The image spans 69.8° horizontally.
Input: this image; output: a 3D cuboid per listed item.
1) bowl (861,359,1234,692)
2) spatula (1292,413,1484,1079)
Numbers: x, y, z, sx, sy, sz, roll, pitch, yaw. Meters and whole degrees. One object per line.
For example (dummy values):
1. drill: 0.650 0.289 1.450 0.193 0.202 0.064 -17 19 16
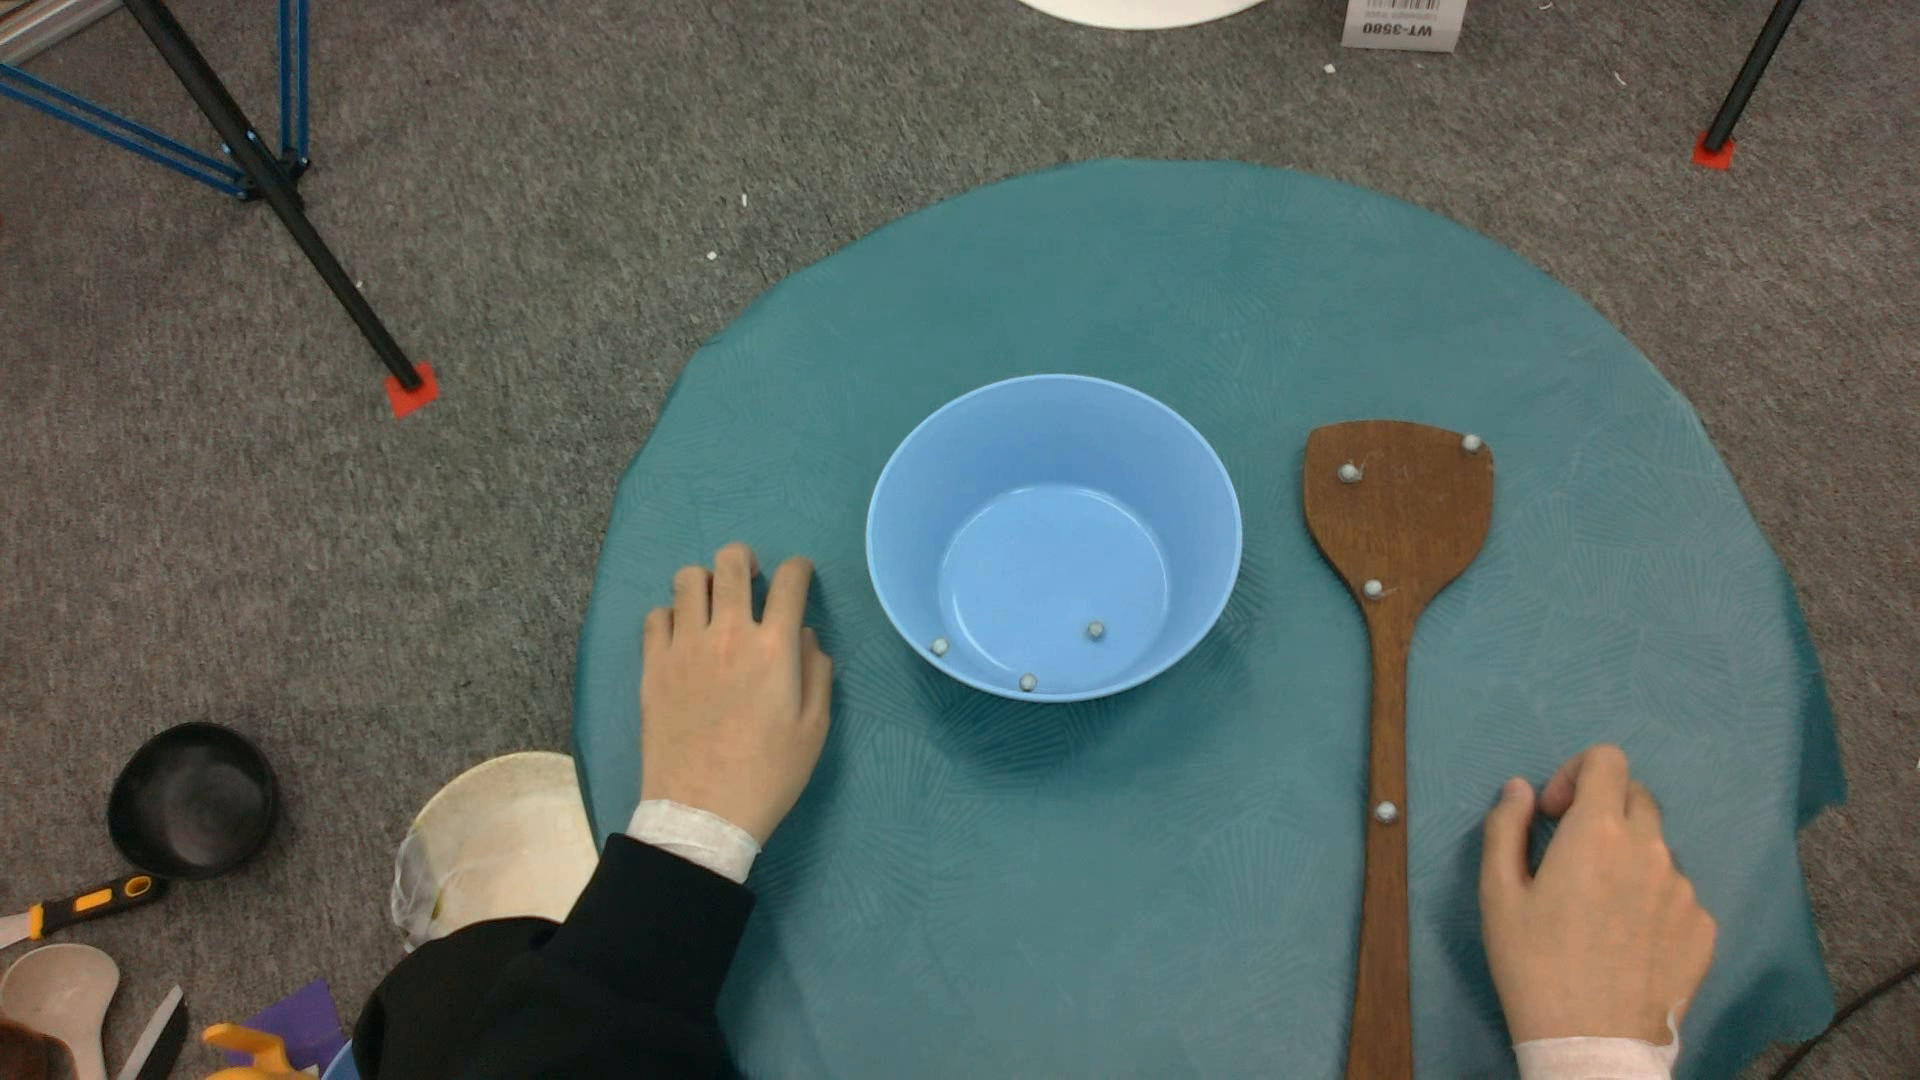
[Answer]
1. bowl: 0.043 0.002 0.673 0.176 0.070 0.177 -2 62 4
2. spatula: 0.194 0.103 0.638 0.096 0.016 0.387 6 62 8
